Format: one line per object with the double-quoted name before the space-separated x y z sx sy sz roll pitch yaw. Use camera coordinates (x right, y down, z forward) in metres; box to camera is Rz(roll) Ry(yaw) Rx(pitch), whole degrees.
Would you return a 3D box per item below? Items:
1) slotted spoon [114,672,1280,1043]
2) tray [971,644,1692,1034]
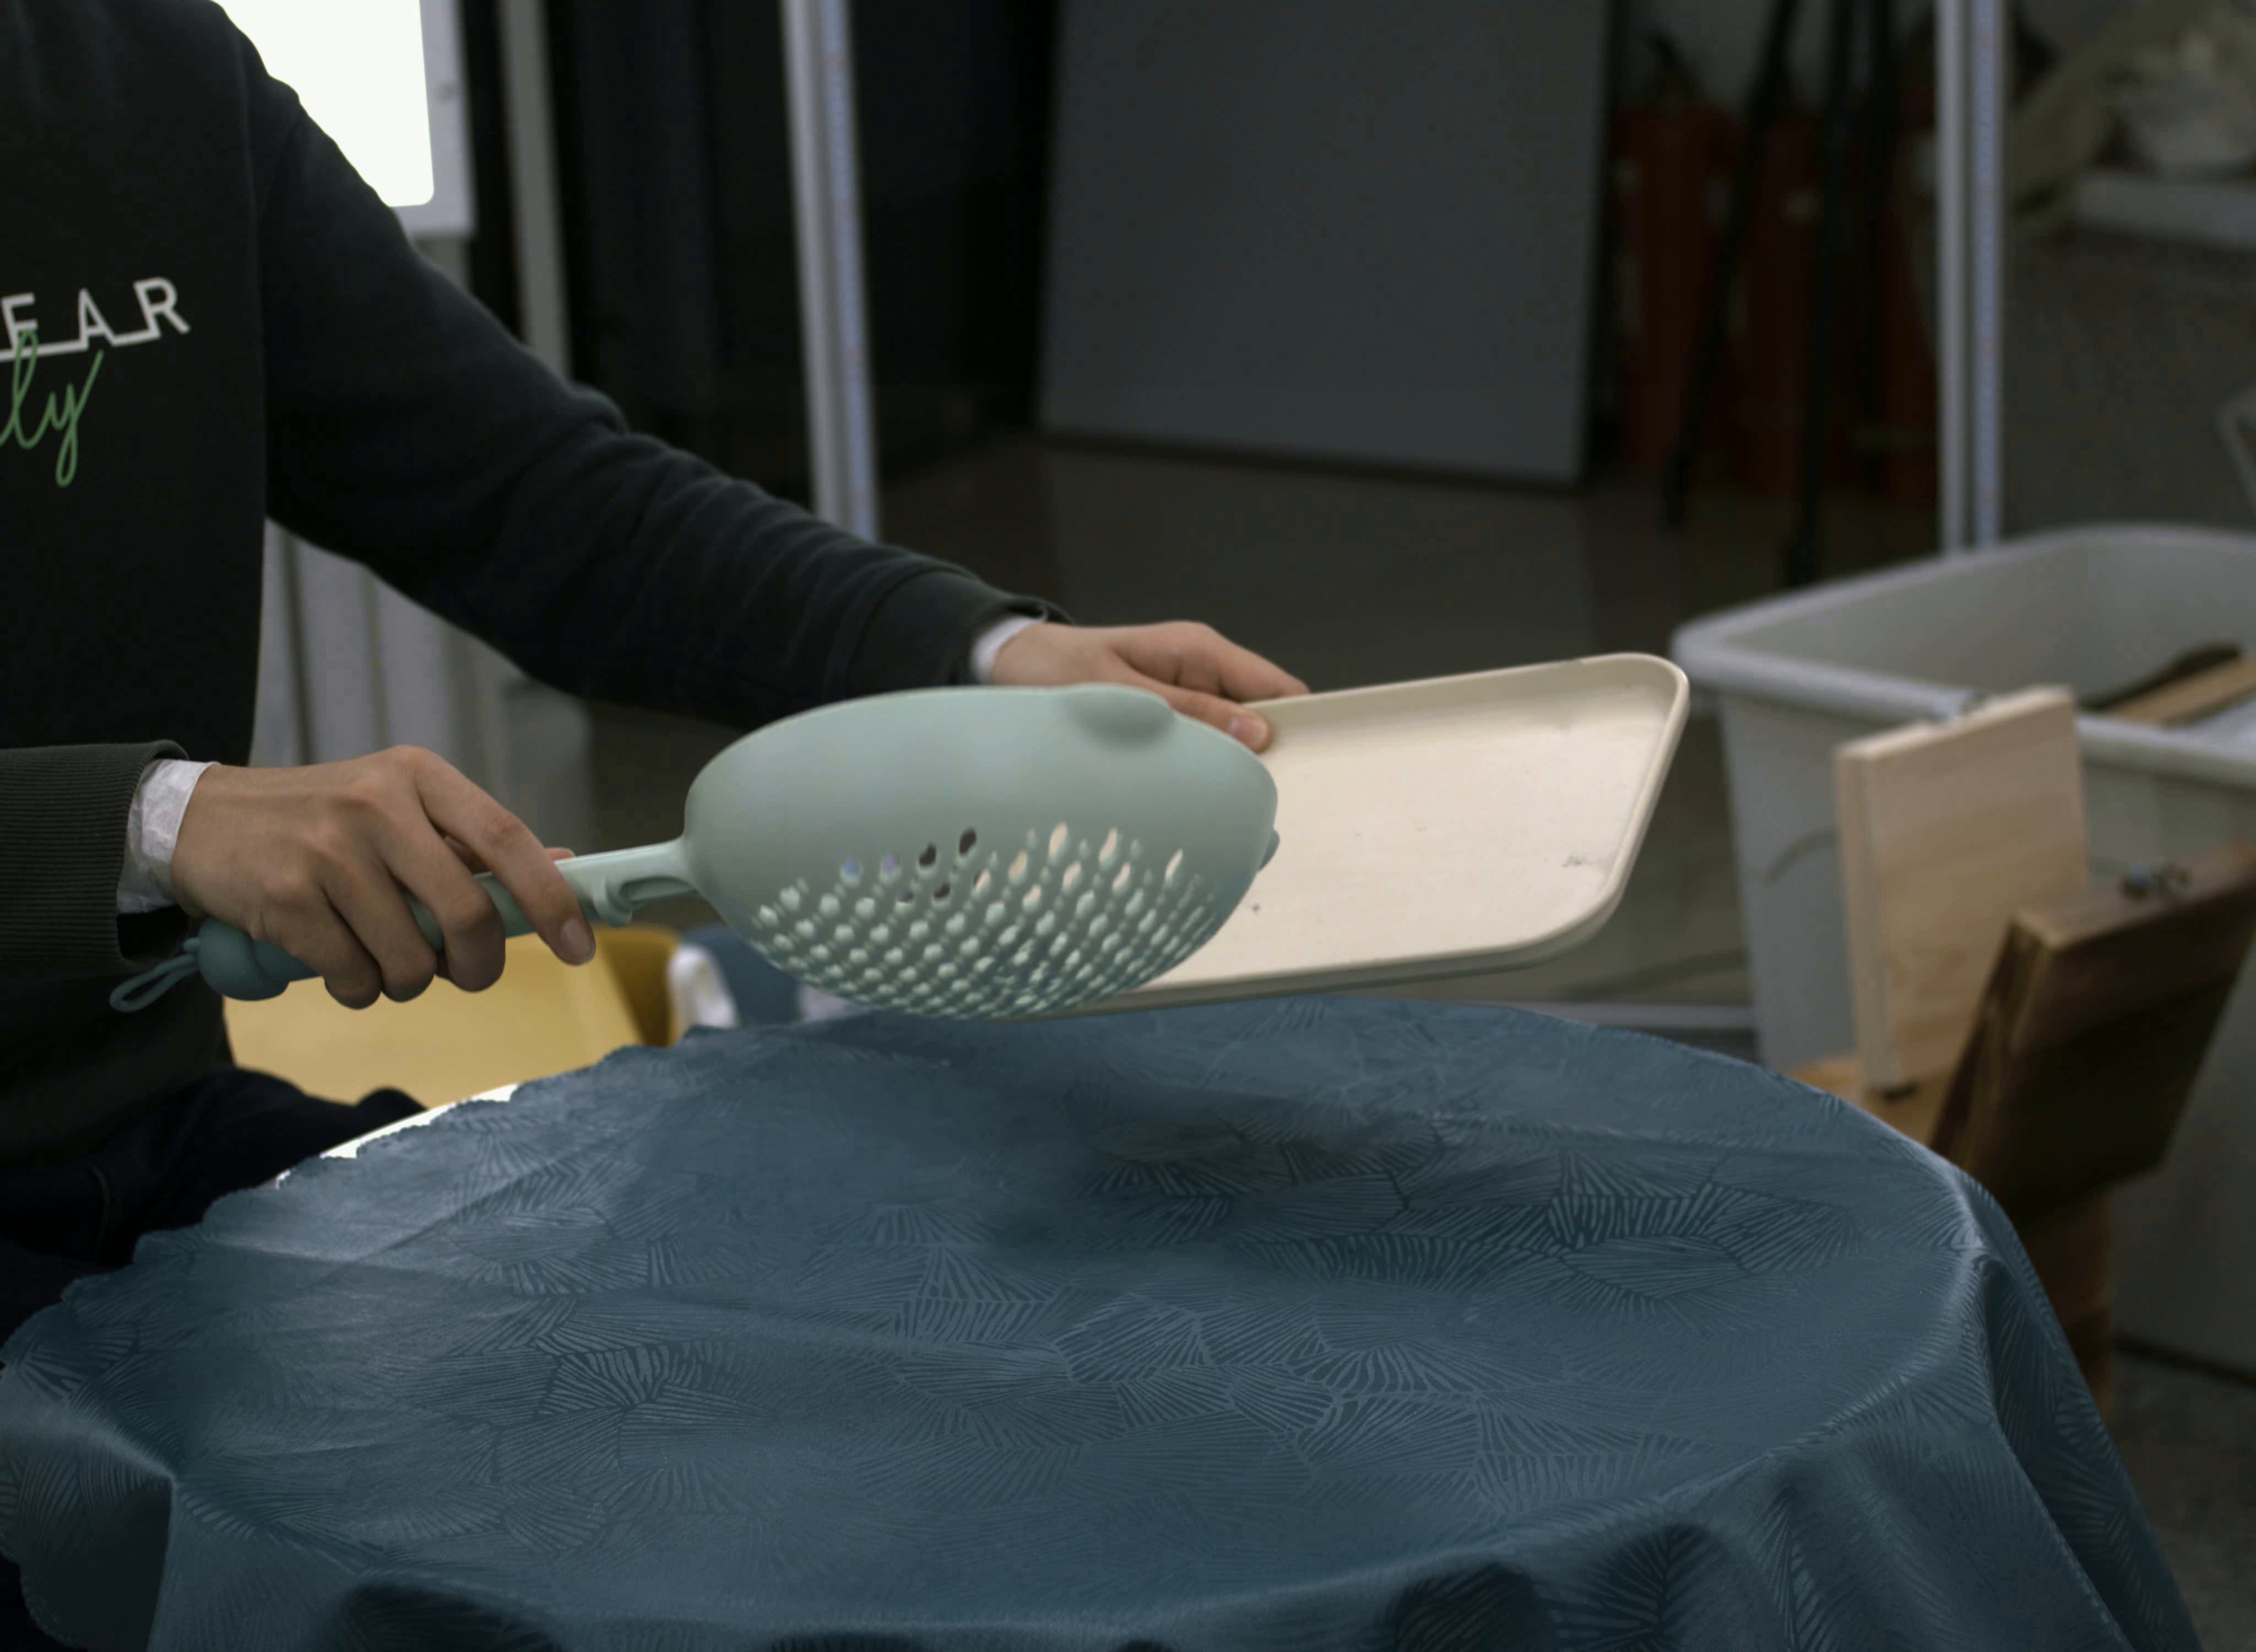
"slotted spoon" -0.131 0.021 1.562 0.358 0.076 0.167 -2 -22 21
"tray" 0.064 0.006 1.761 0.240 0.017 0.171 -9 30 25
